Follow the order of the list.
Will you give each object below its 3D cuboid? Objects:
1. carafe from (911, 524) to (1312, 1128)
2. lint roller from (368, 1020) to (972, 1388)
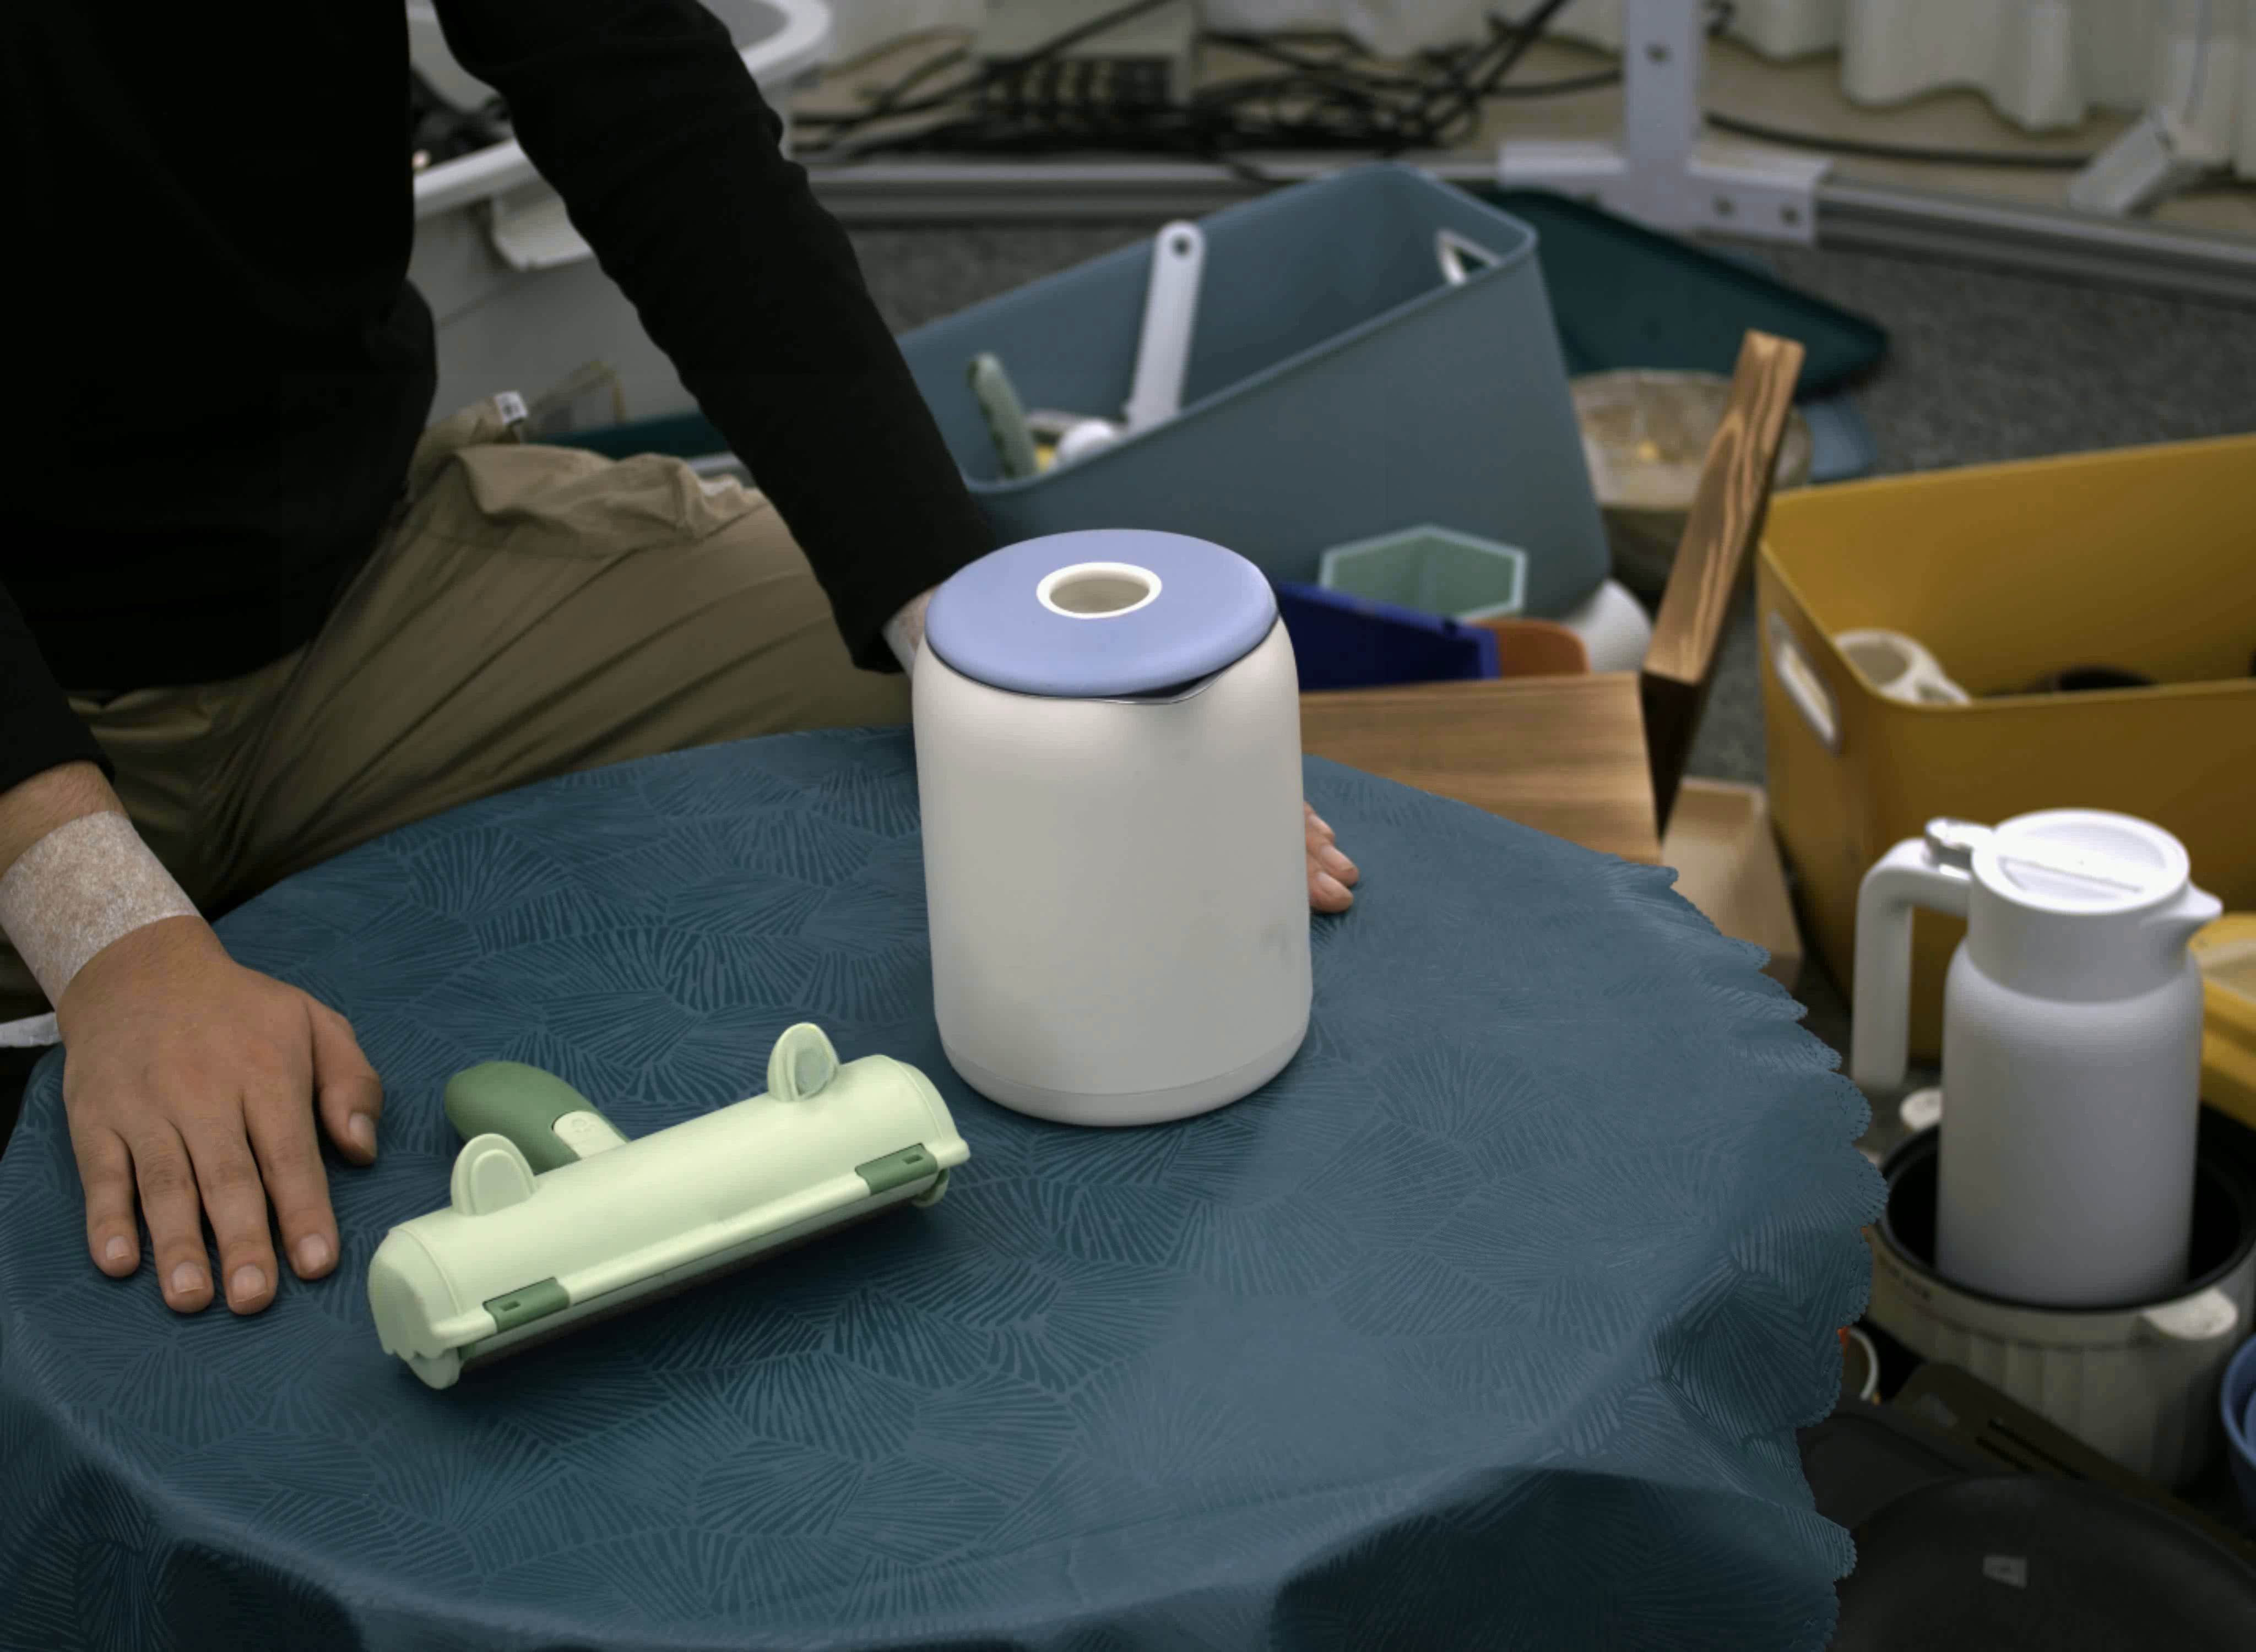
[{"bbox_3d":[-0.015,-0.010,1.933,0.133,0.181,0.192,-13,26,-21],"label":"carafe"},{"bbox_3d":[-0.178,0.099,1.841,0.200,0.081,0.184,-18,33,-29],"label":"lint roller"}]
